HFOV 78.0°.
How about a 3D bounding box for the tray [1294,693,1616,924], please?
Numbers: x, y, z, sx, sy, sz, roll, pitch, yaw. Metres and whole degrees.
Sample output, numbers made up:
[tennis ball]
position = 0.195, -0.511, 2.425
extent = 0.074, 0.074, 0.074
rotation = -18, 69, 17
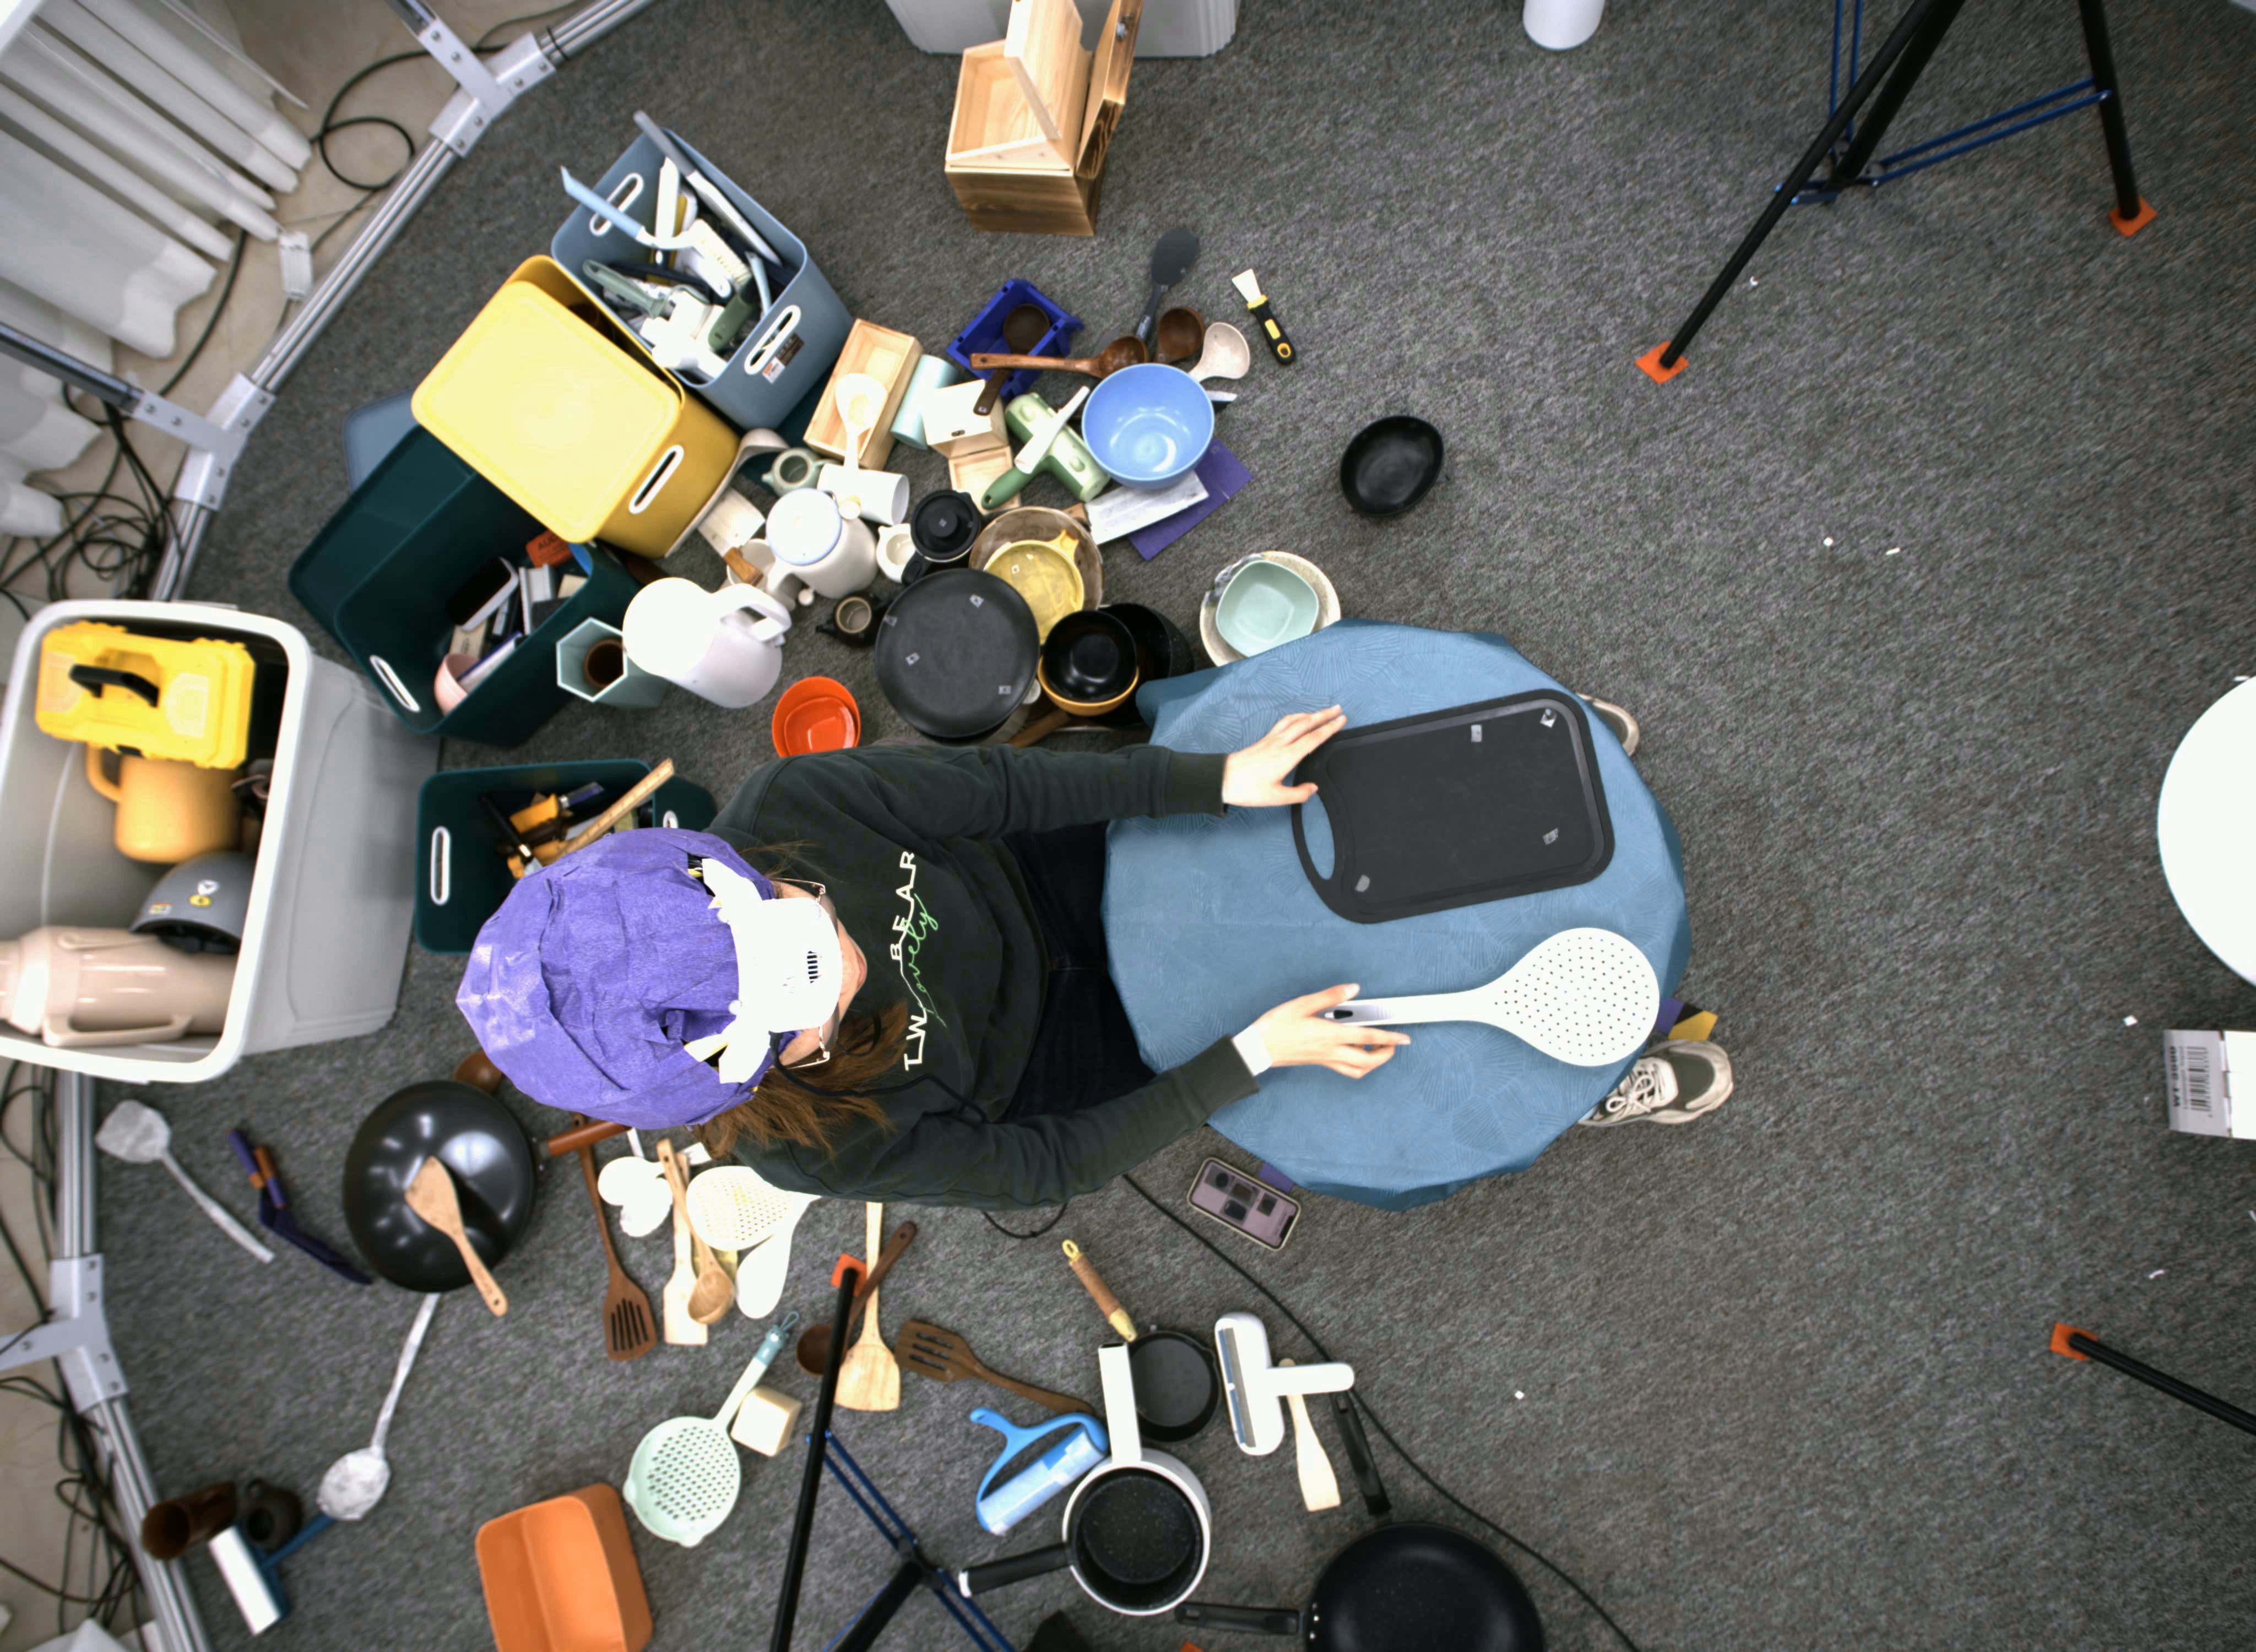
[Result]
[tray]
position = 0.339, -0.018, 1.455
extent = 0.327, 0.010, 0.210
rotation = -11, 84, 10

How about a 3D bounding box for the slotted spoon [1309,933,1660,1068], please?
[slotted spoon]
position = 0.361, 0.184, 1.417
extent = 0.351, 0.046, 0.135
rotation = -5, 83, 11
